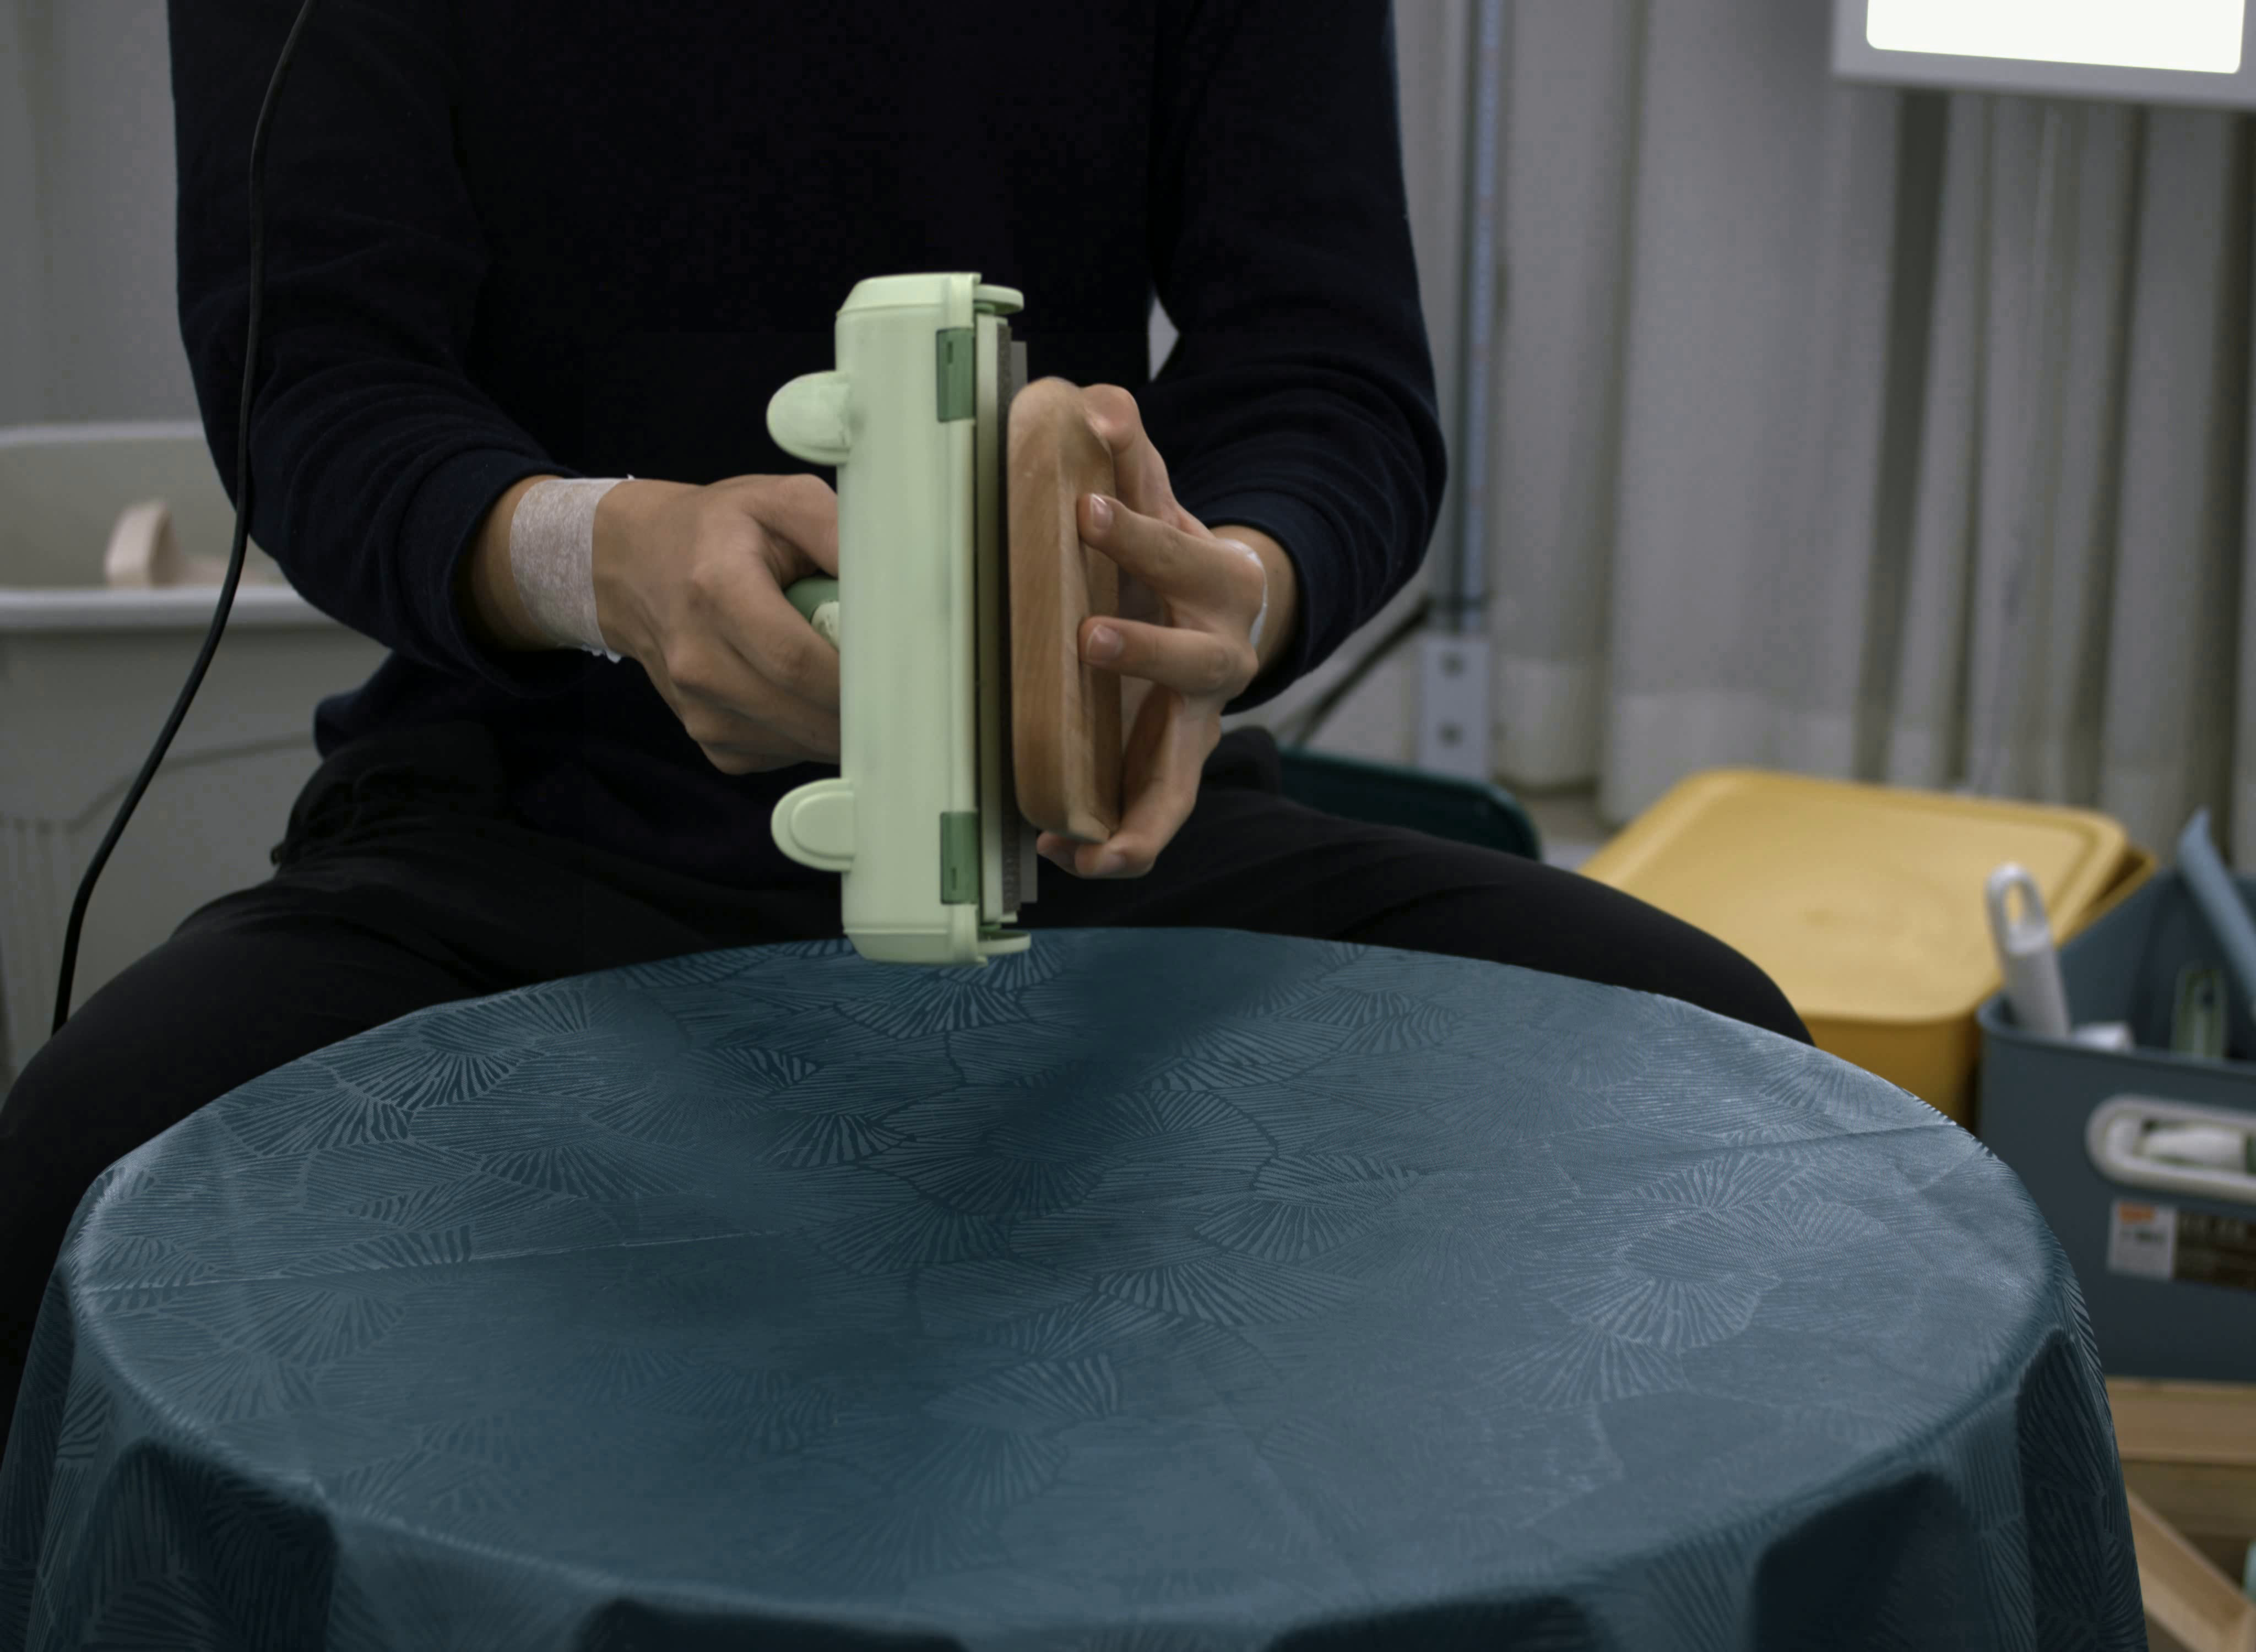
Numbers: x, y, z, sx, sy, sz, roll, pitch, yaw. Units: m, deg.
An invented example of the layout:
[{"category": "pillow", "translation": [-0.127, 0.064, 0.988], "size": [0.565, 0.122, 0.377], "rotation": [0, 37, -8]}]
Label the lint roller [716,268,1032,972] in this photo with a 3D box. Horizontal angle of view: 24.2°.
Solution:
[{"category": "lint roller", "translation": [-0.094, -0.057, 1.535], "size": [0.083, 0.199, 0.181], "rotation": [0, -1, -35]}]

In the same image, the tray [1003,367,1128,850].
[{"category": "tray", "translation": [-0.017, -0.059, 1.541], "size": [0.023, 0.131, 0.251], "rotation": [1, -2, 3]}]
